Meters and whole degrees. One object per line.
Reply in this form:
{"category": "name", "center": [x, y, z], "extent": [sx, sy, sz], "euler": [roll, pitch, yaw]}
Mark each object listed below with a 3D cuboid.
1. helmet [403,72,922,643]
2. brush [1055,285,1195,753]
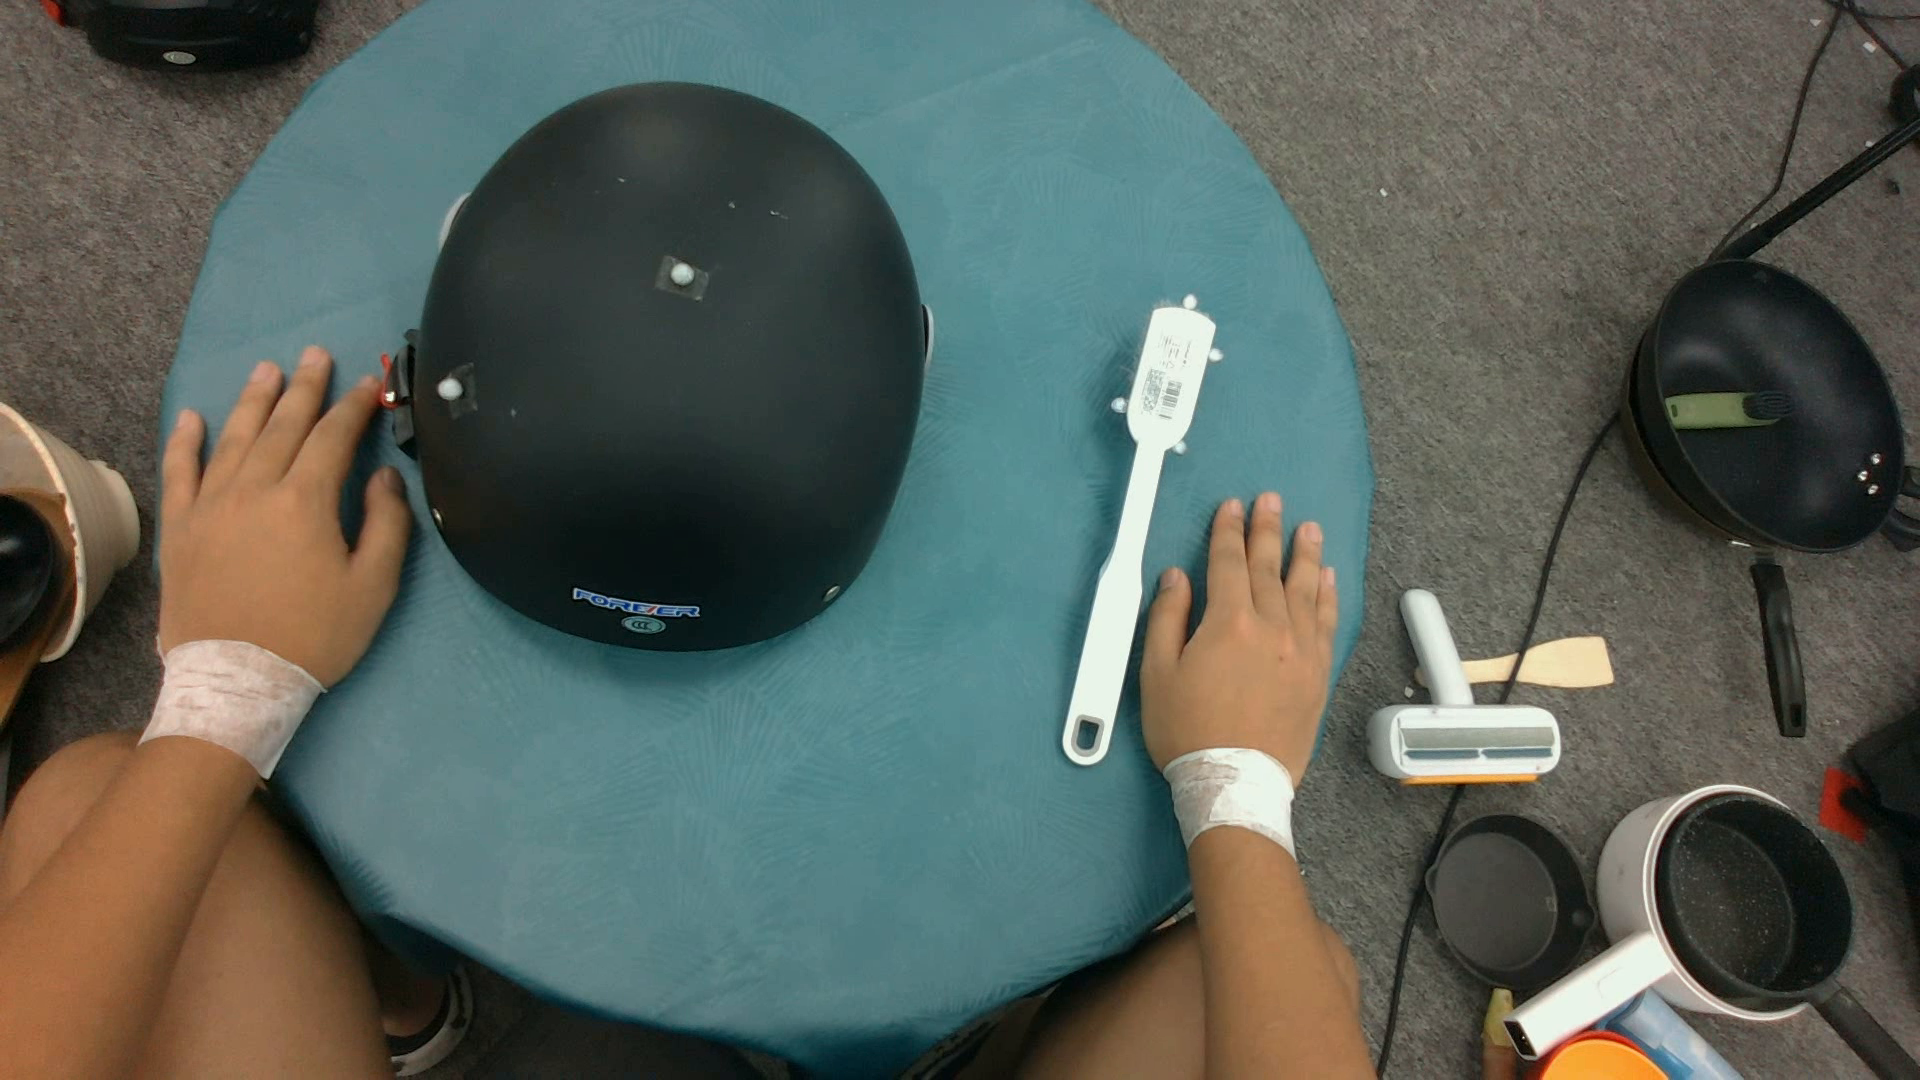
{"category": "helmet", "center": [-0.126, -0.097, 0.607], "extent": [0.230, 0.166, 0.274], "euler": [14, 69, -11]}
{"category": "brush", "center": [0.080, -0.013, 0.699], "extent": [0.034, 0.050, 0.244], "euler": [12, 84, 0]}
